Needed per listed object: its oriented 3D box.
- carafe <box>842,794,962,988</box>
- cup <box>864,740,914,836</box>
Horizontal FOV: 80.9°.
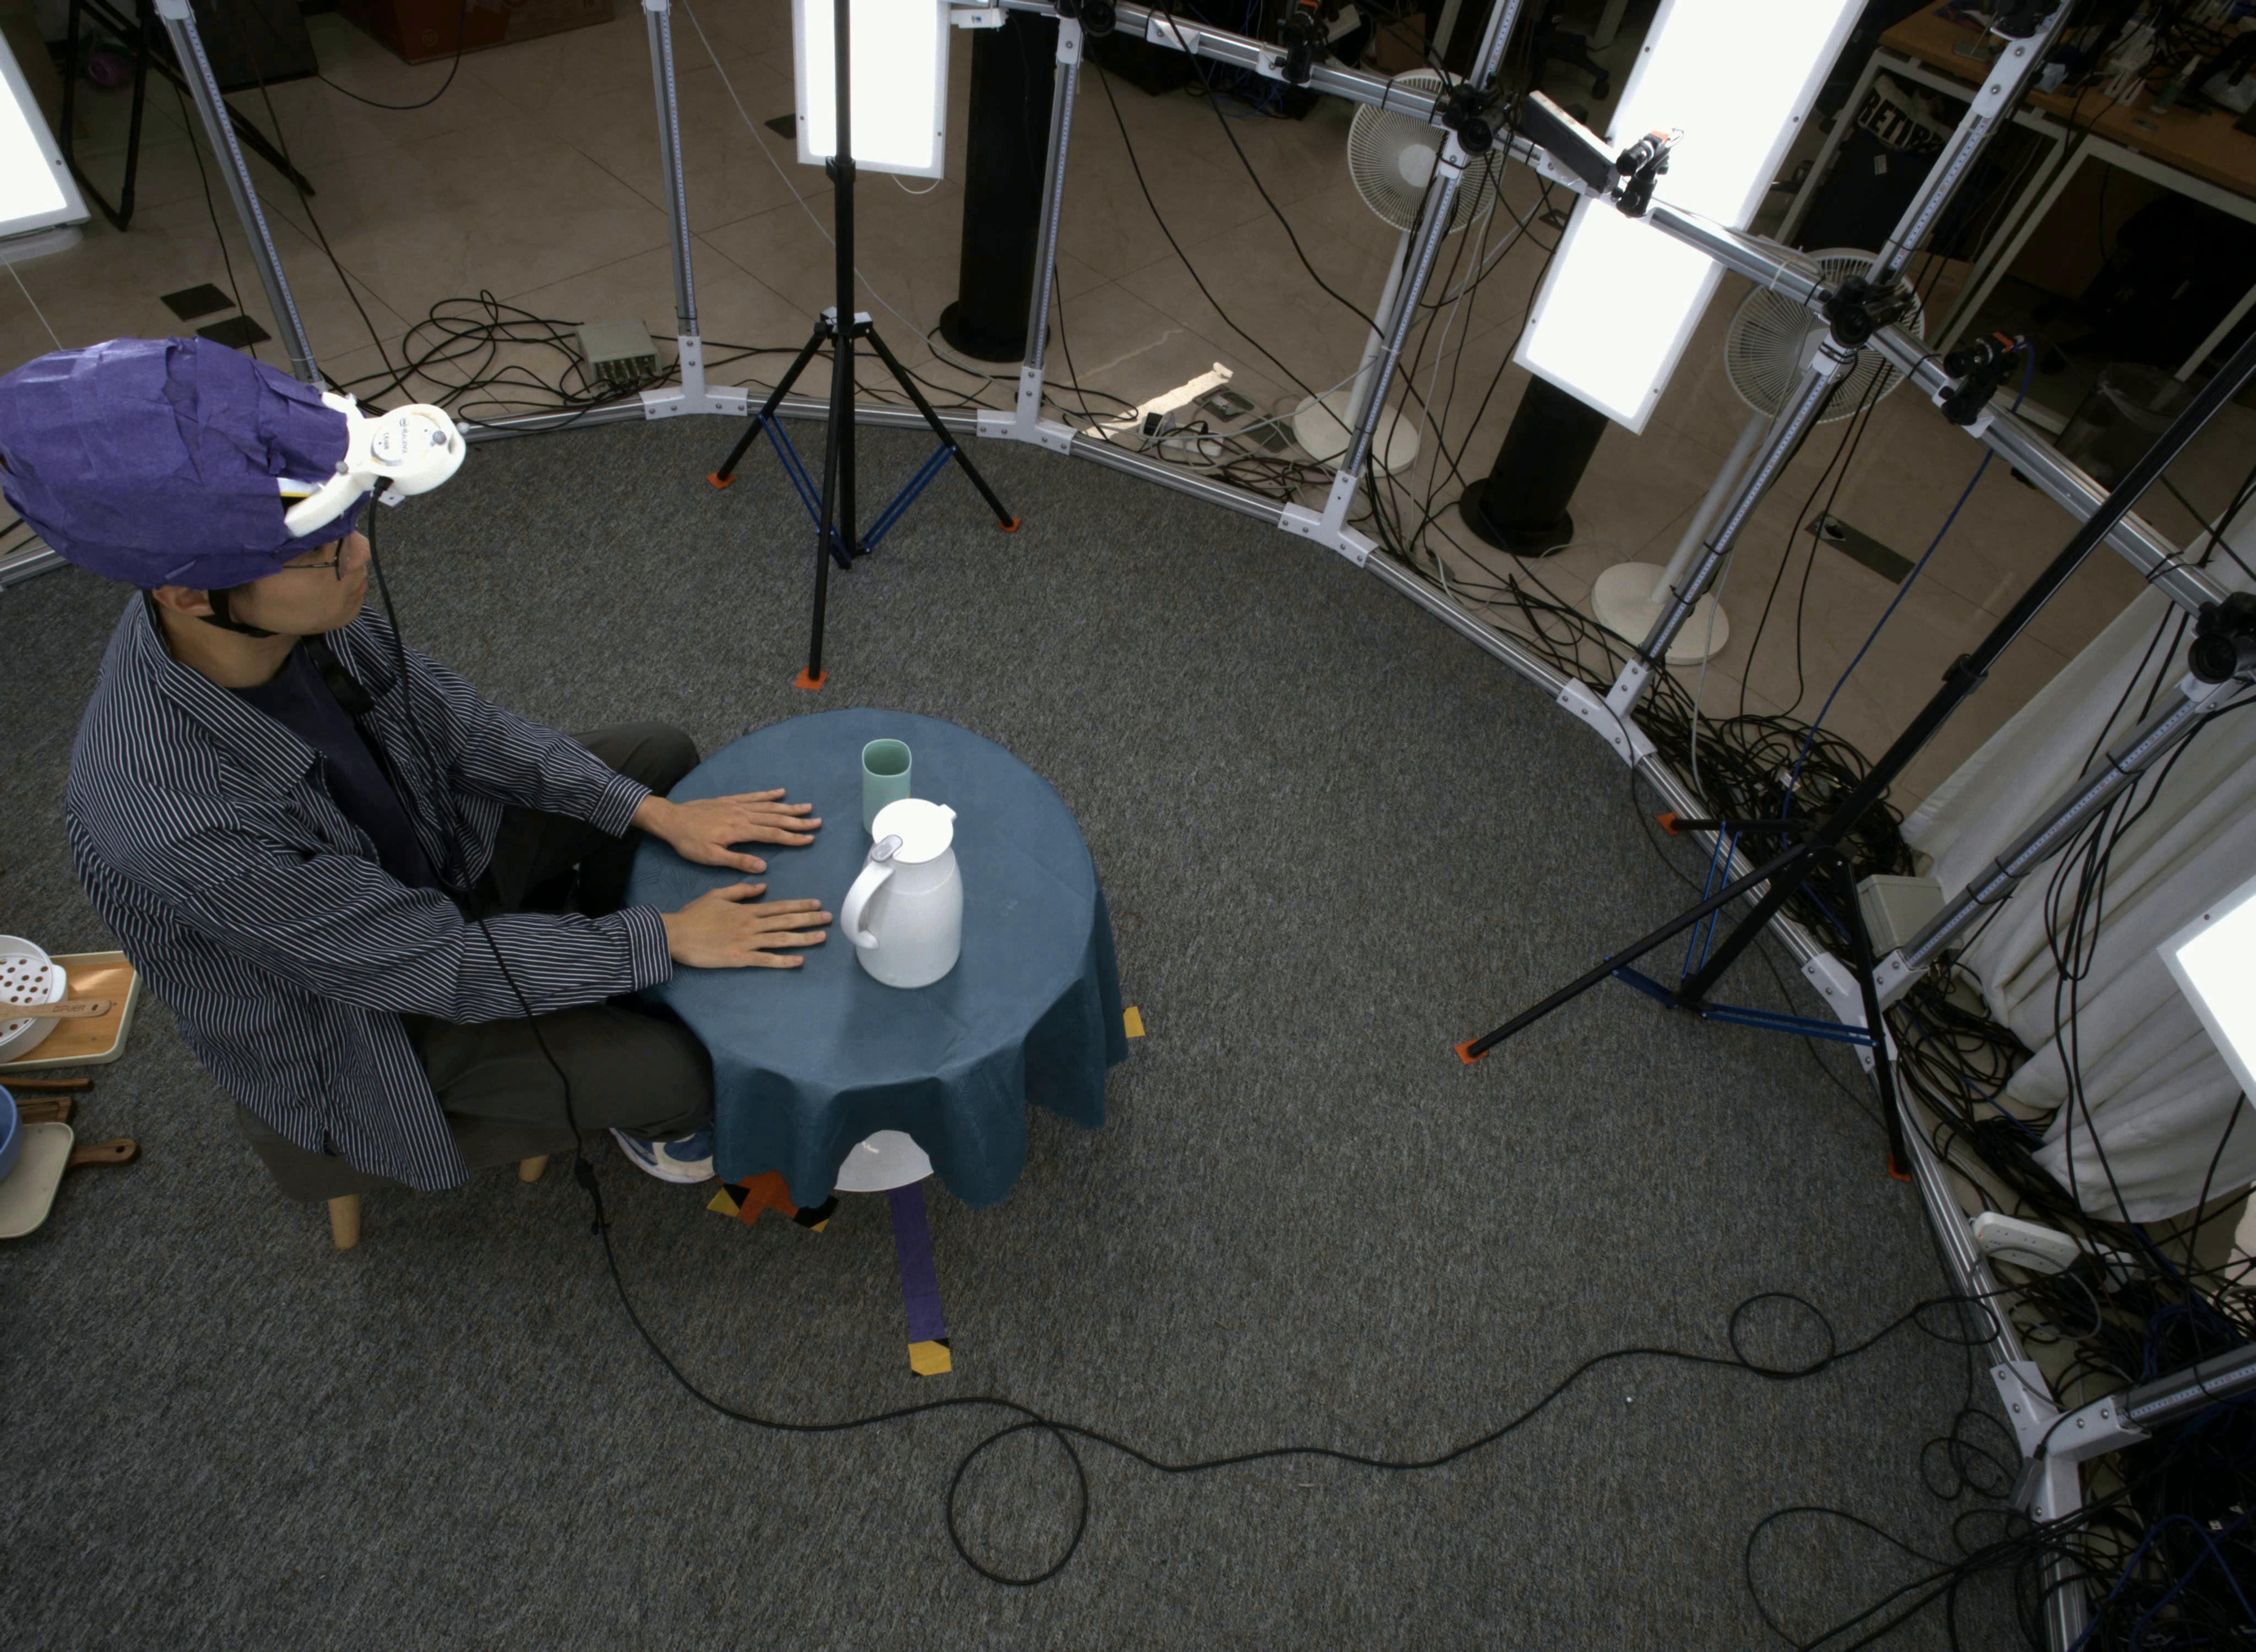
[{"bbox_3d":[-0.273,0.084,1.550,0.130,0.254,0.167,34,55,15],"label":"carafe"},{"bbox_3d":[-0.319,-0.047,1.719,0.066,0.135,0.065,7,51,-7],"label":"cup"}]
